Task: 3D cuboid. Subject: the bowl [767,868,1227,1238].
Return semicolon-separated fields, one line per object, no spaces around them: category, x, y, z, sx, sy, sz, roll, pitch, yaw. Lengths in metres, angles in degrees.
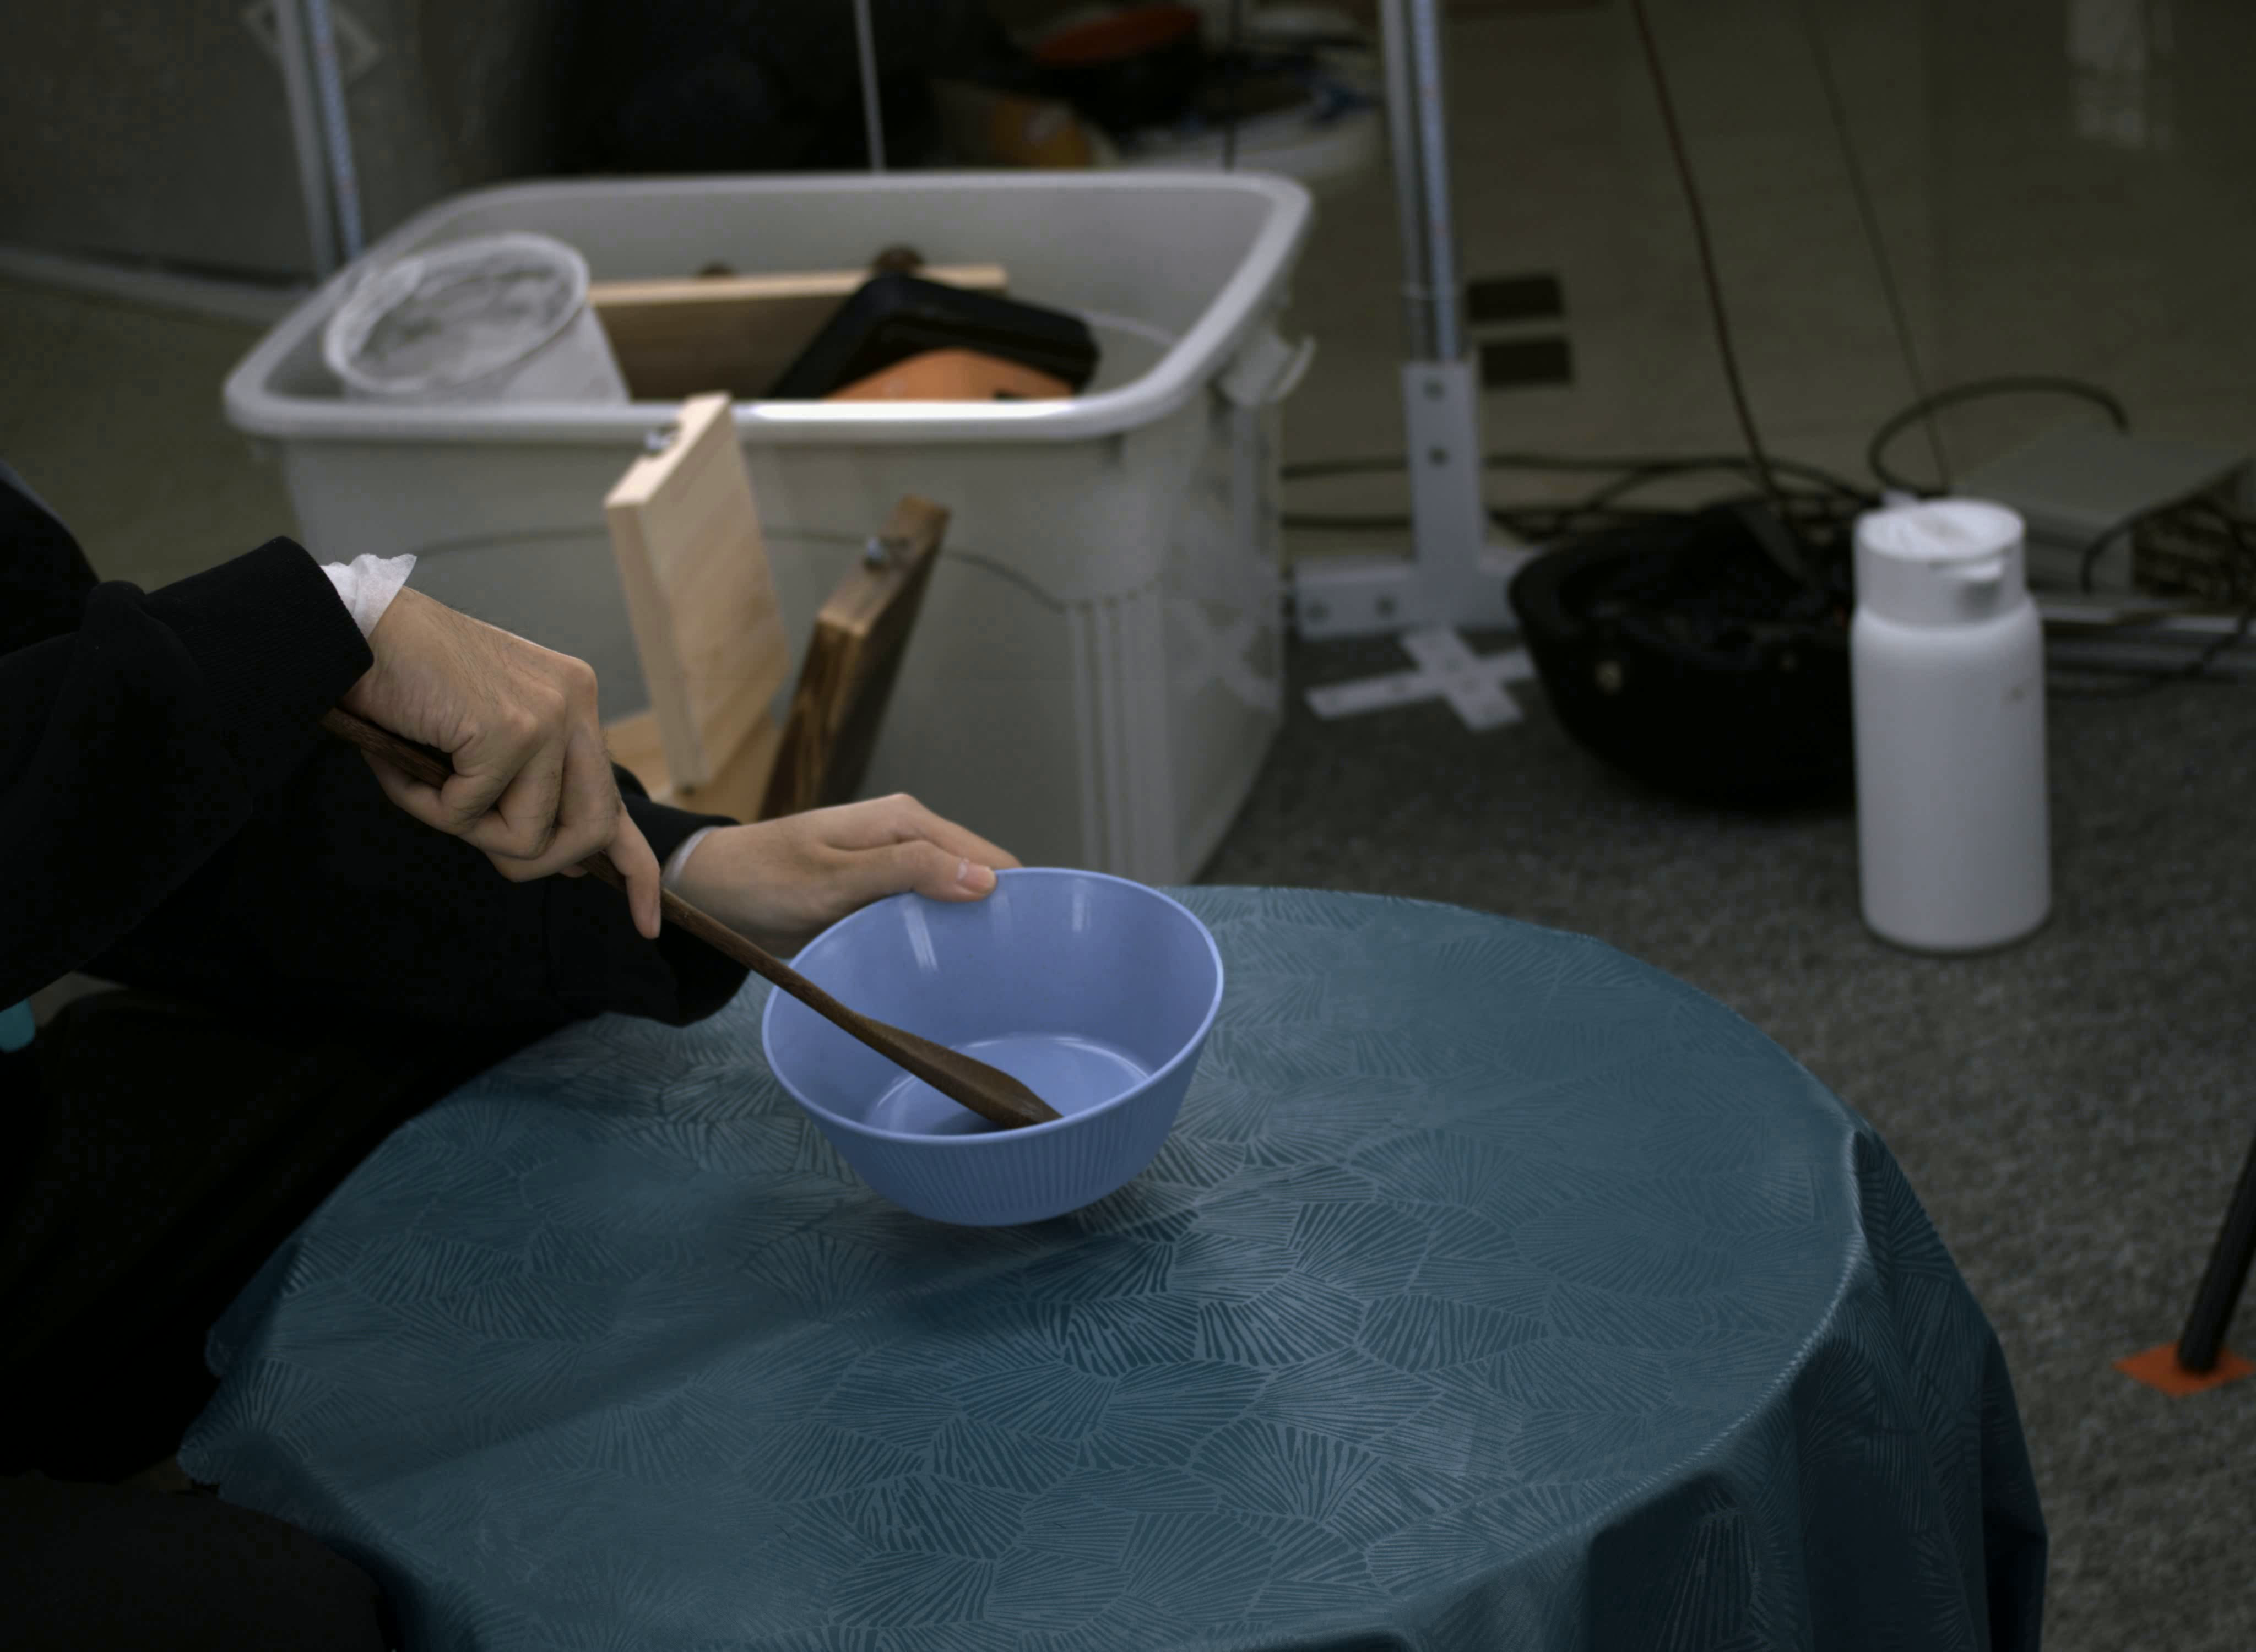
bowl;-0.045;0.094;2.143;0.176;0.071;0.173;-7;37;5

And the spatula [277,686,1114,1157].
spatula;-0.151;0.036;2.031;0.016;0.390;0.095;-57;36;0
